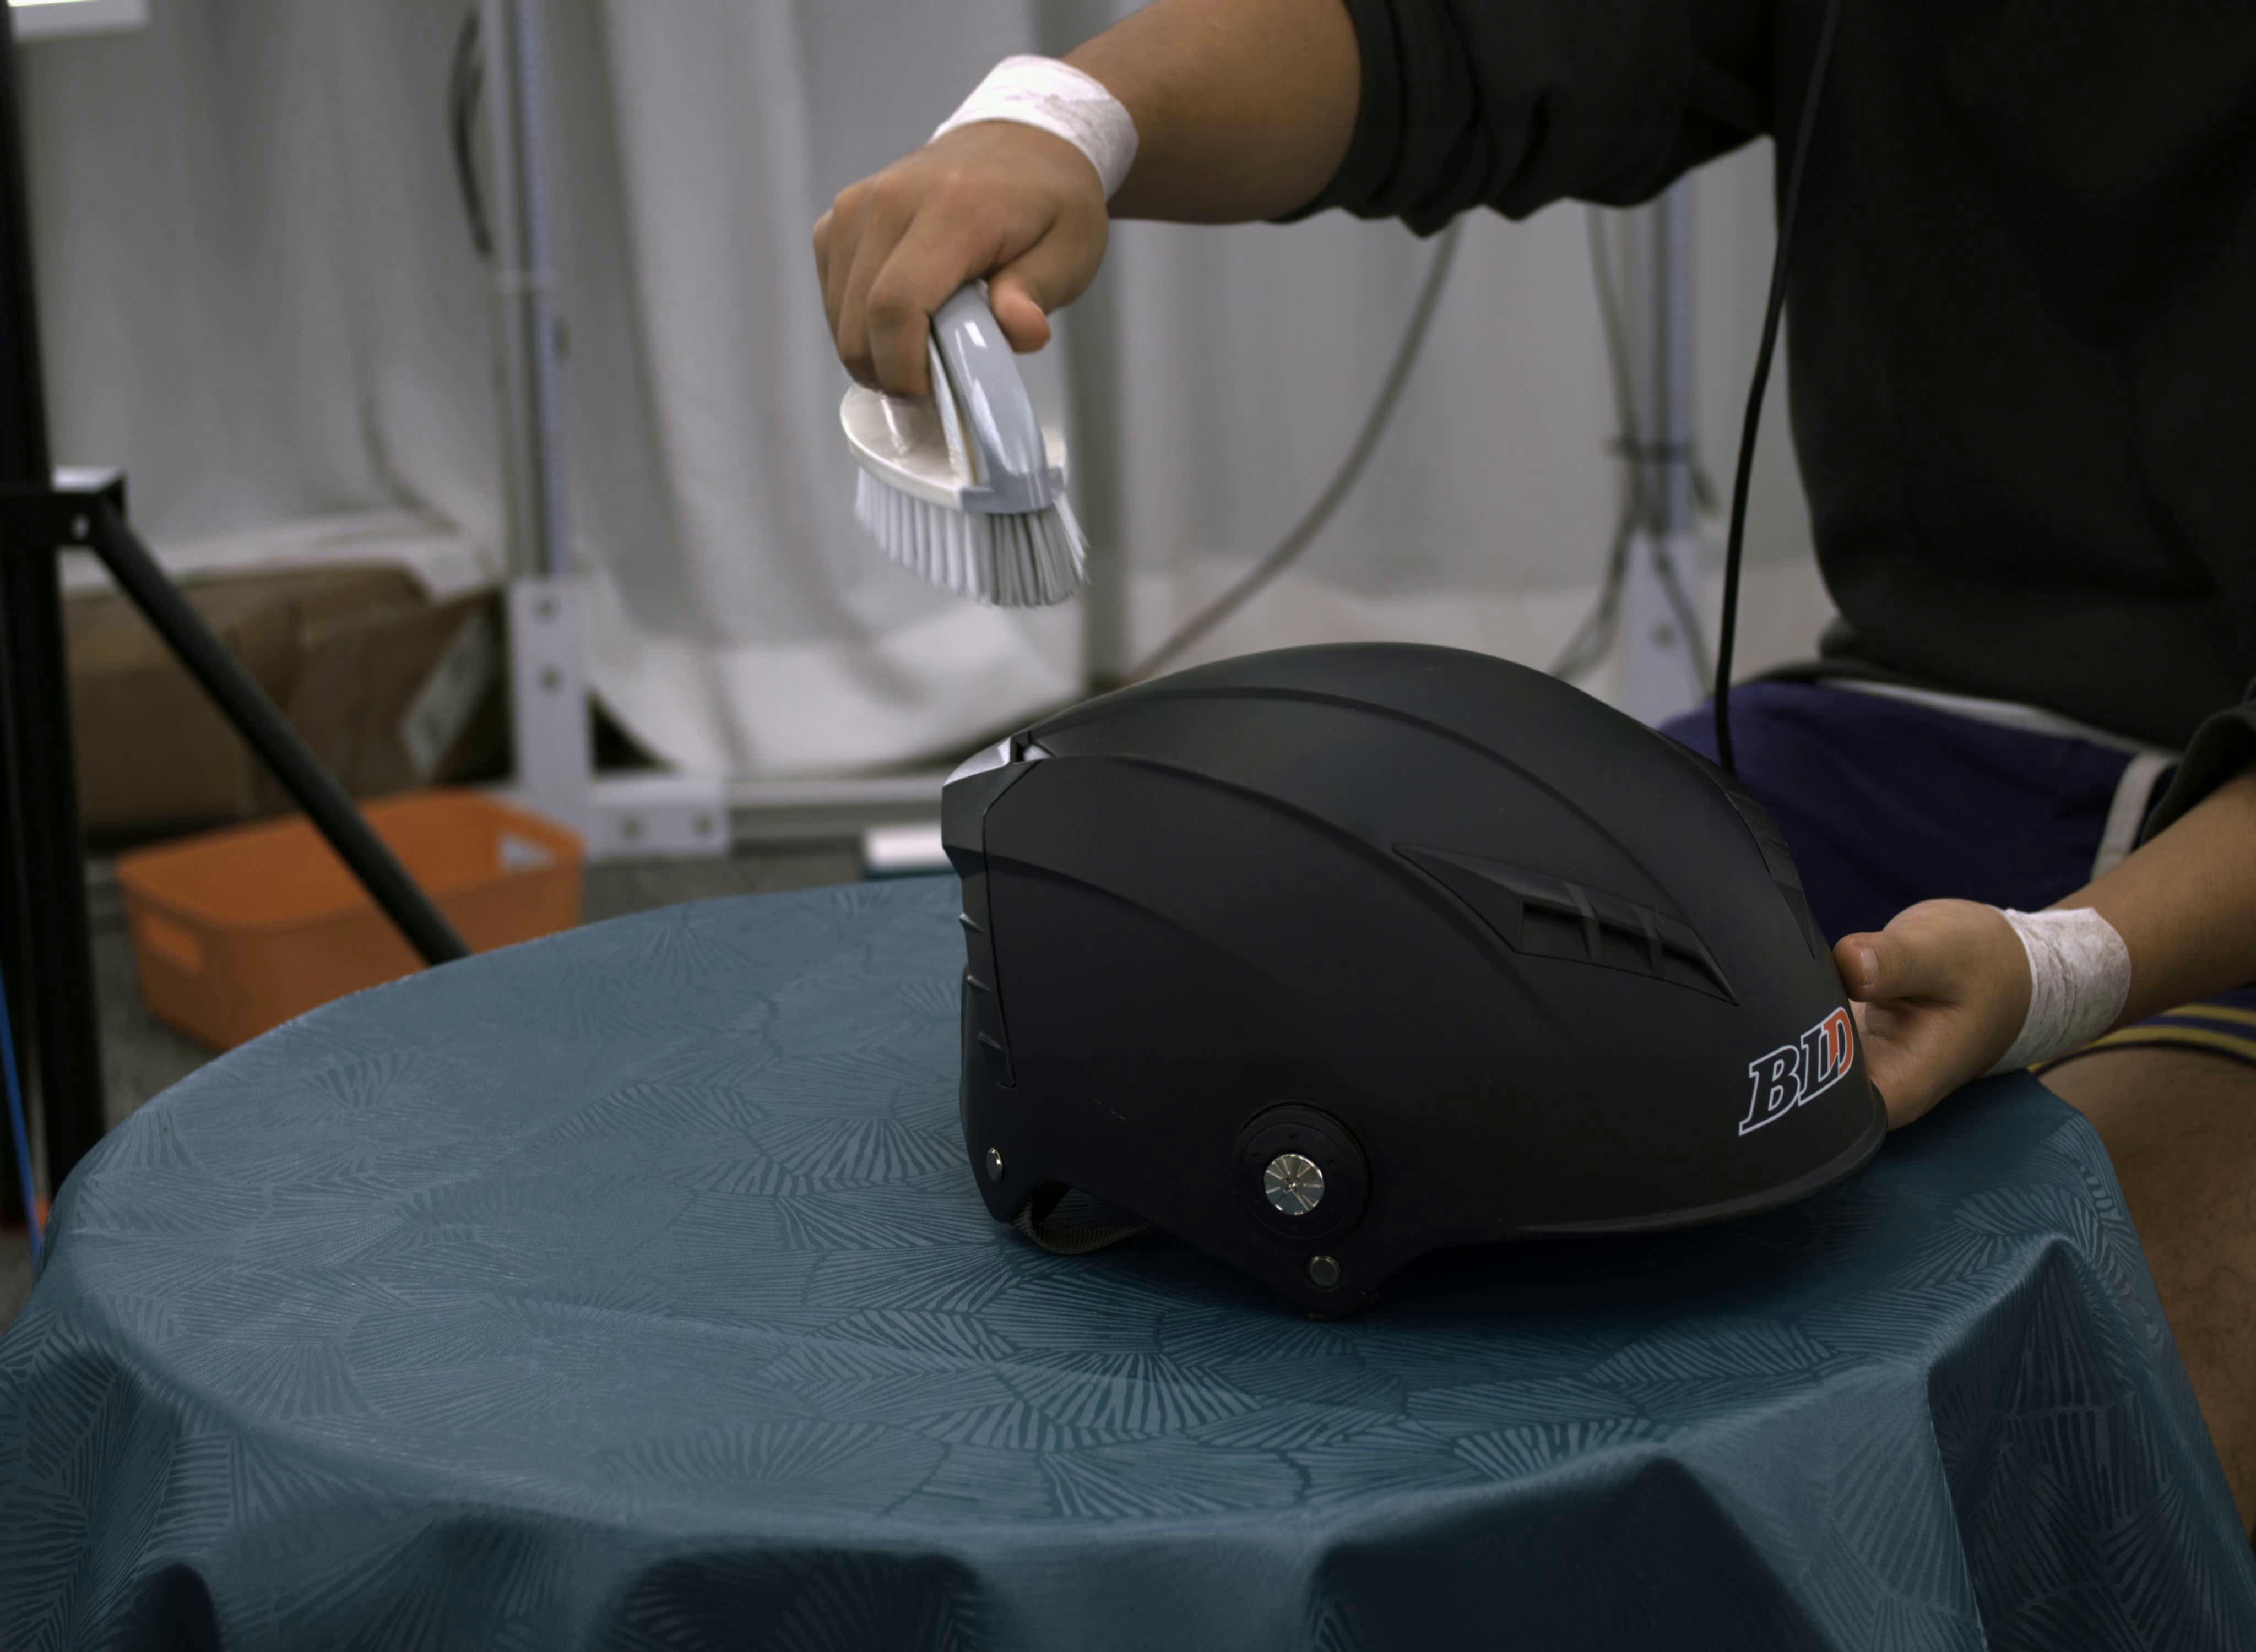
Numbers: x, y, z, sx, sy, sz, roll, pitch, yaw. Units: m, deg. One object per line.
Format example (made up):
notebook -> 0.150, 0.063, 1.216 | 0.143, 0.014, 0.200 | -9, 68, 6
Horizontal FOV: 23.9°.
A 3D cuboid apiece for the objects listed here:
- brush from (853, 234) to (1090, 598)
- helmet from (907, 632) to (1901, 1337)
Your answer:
brush -> -0.048, -0.129, 1.640 | 0.061, 0.094, 0.178 | -14, 19, -8
helmet -> 0.076, 0.032, 1.527 | 0.282, 0.172, 0.242 | 3, 17, 36
